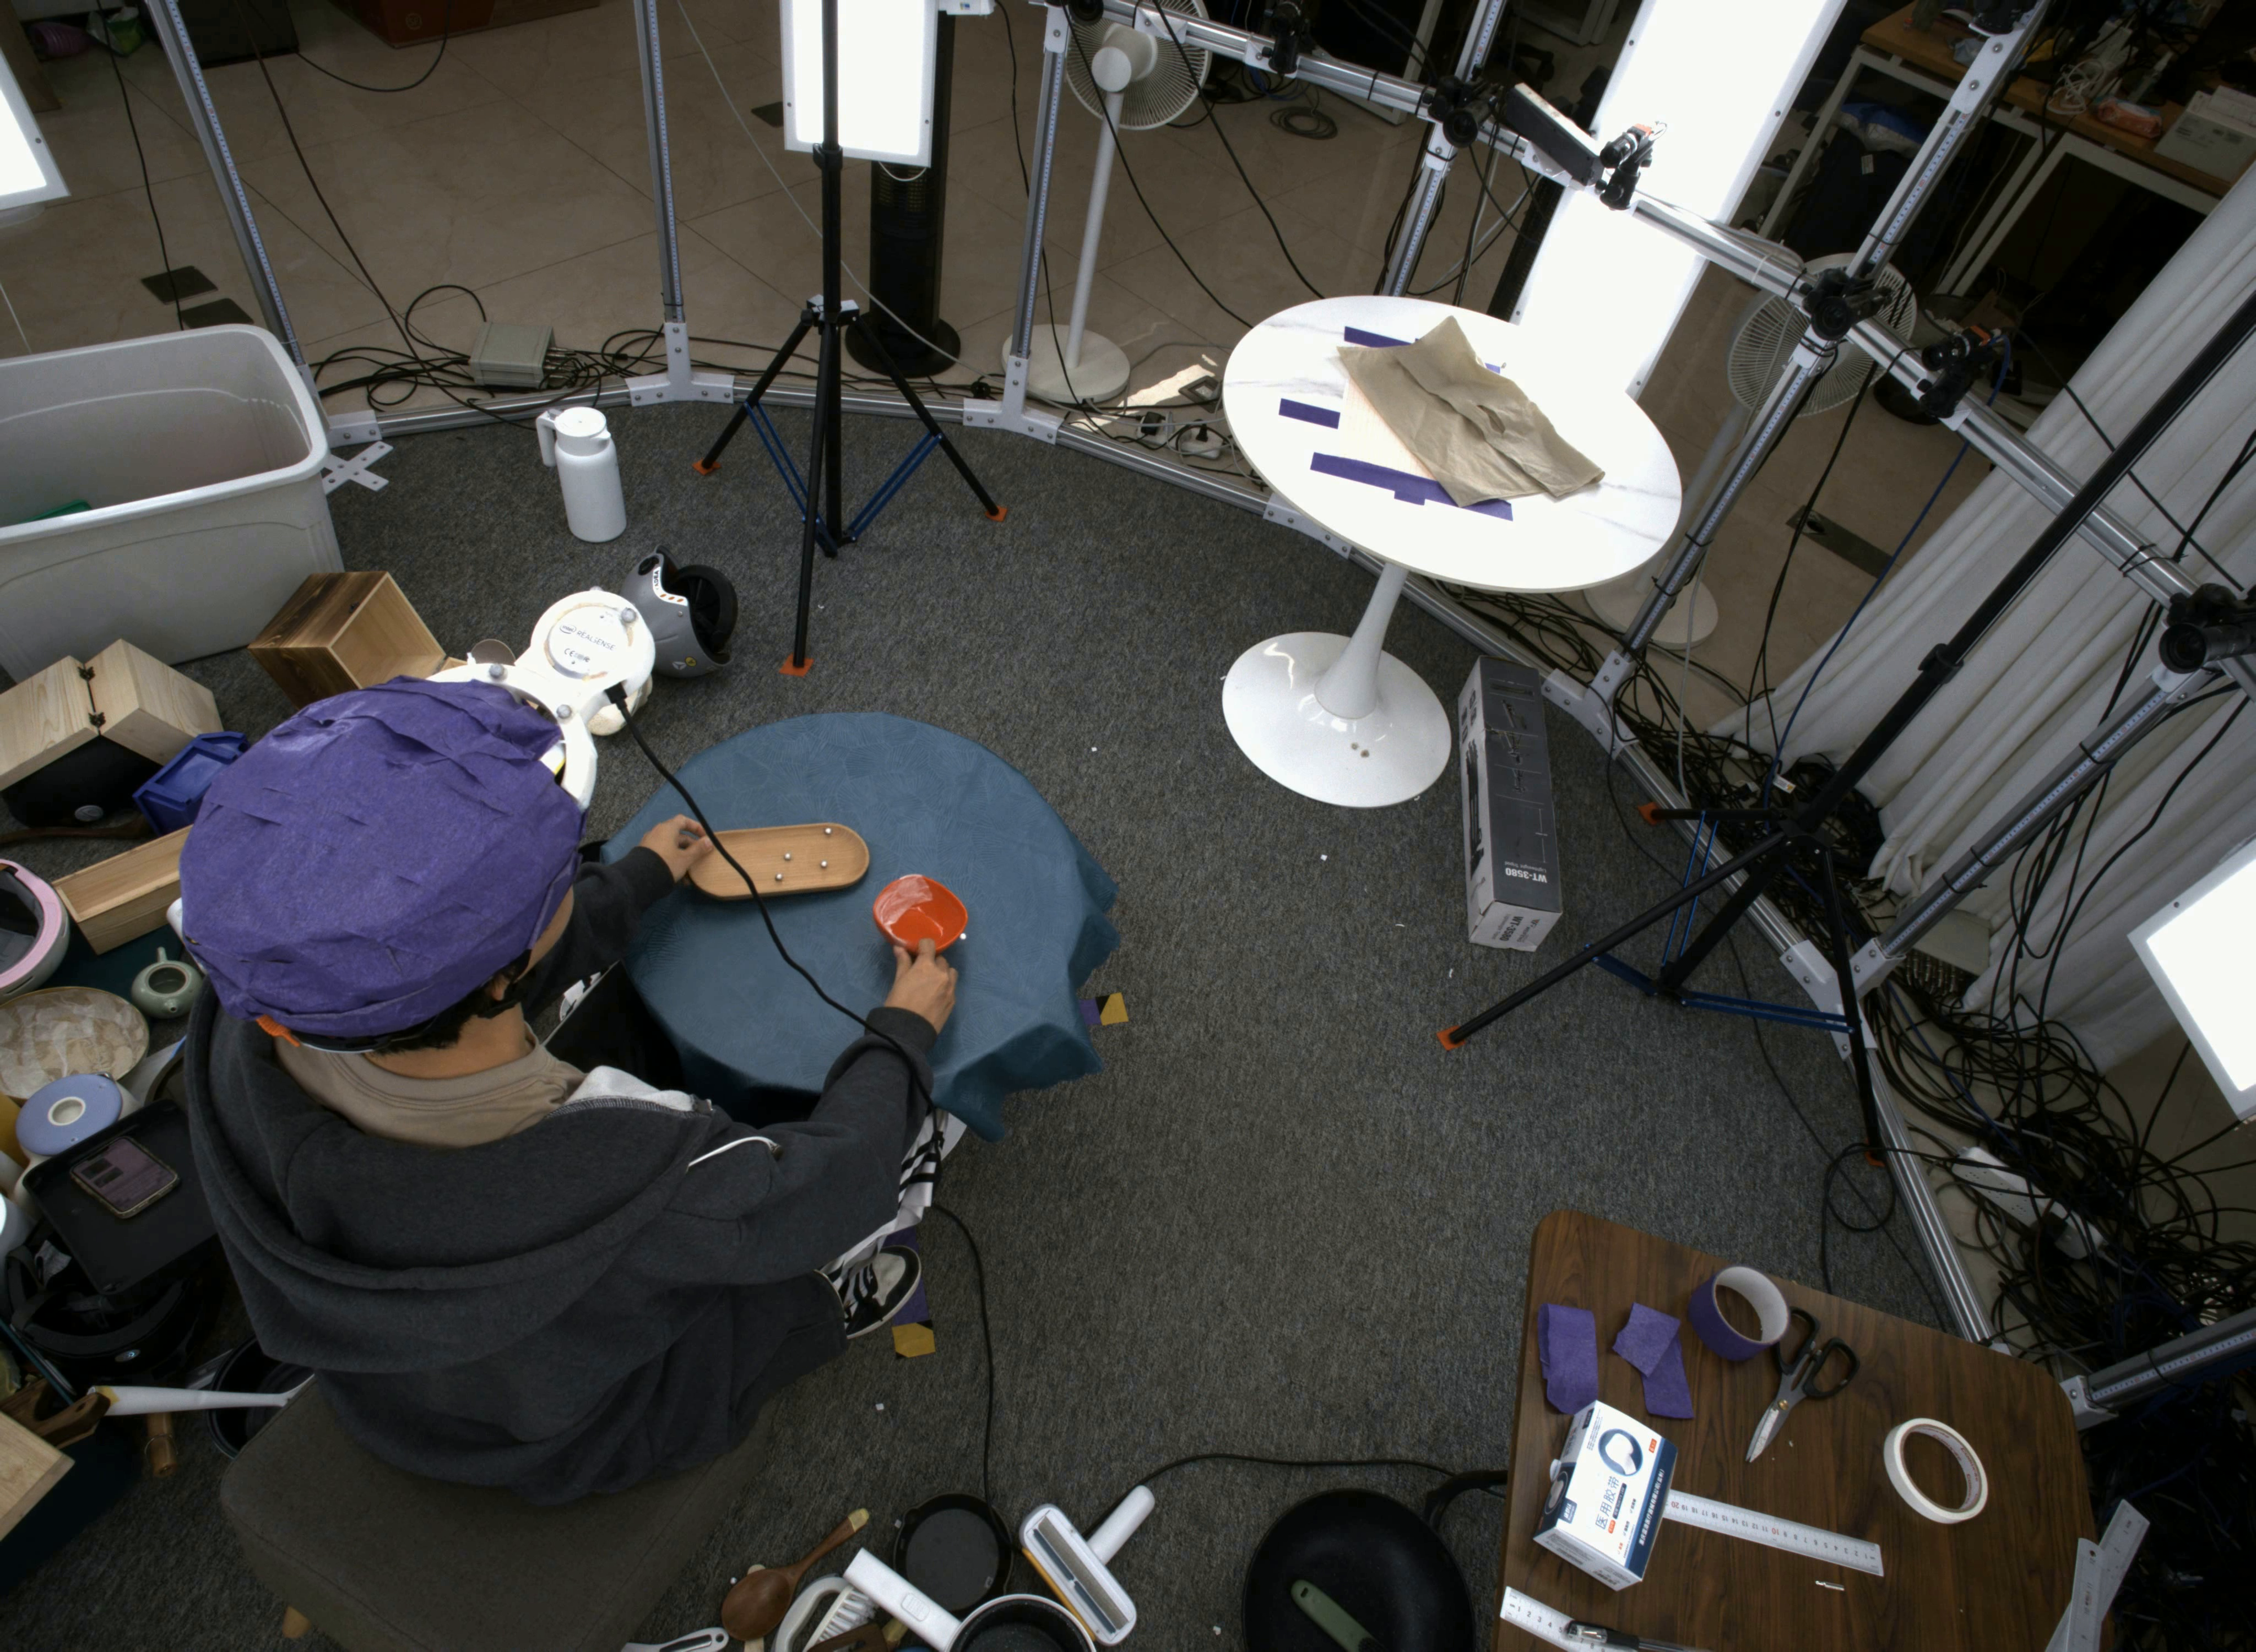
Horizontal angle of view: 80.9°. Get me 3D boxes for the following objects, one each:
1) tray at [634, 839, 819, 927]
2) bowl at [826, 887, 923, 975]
[{"bbox_3d":[-0.505,0.069,1.629,0.233,0.020,0.099,-10,58,-28],"label":"tray"},{"bbox_3d":[-0.316,0.136,1.603,0.119,0.052,0.116,16,44,-14],"label":"bowl"}]
